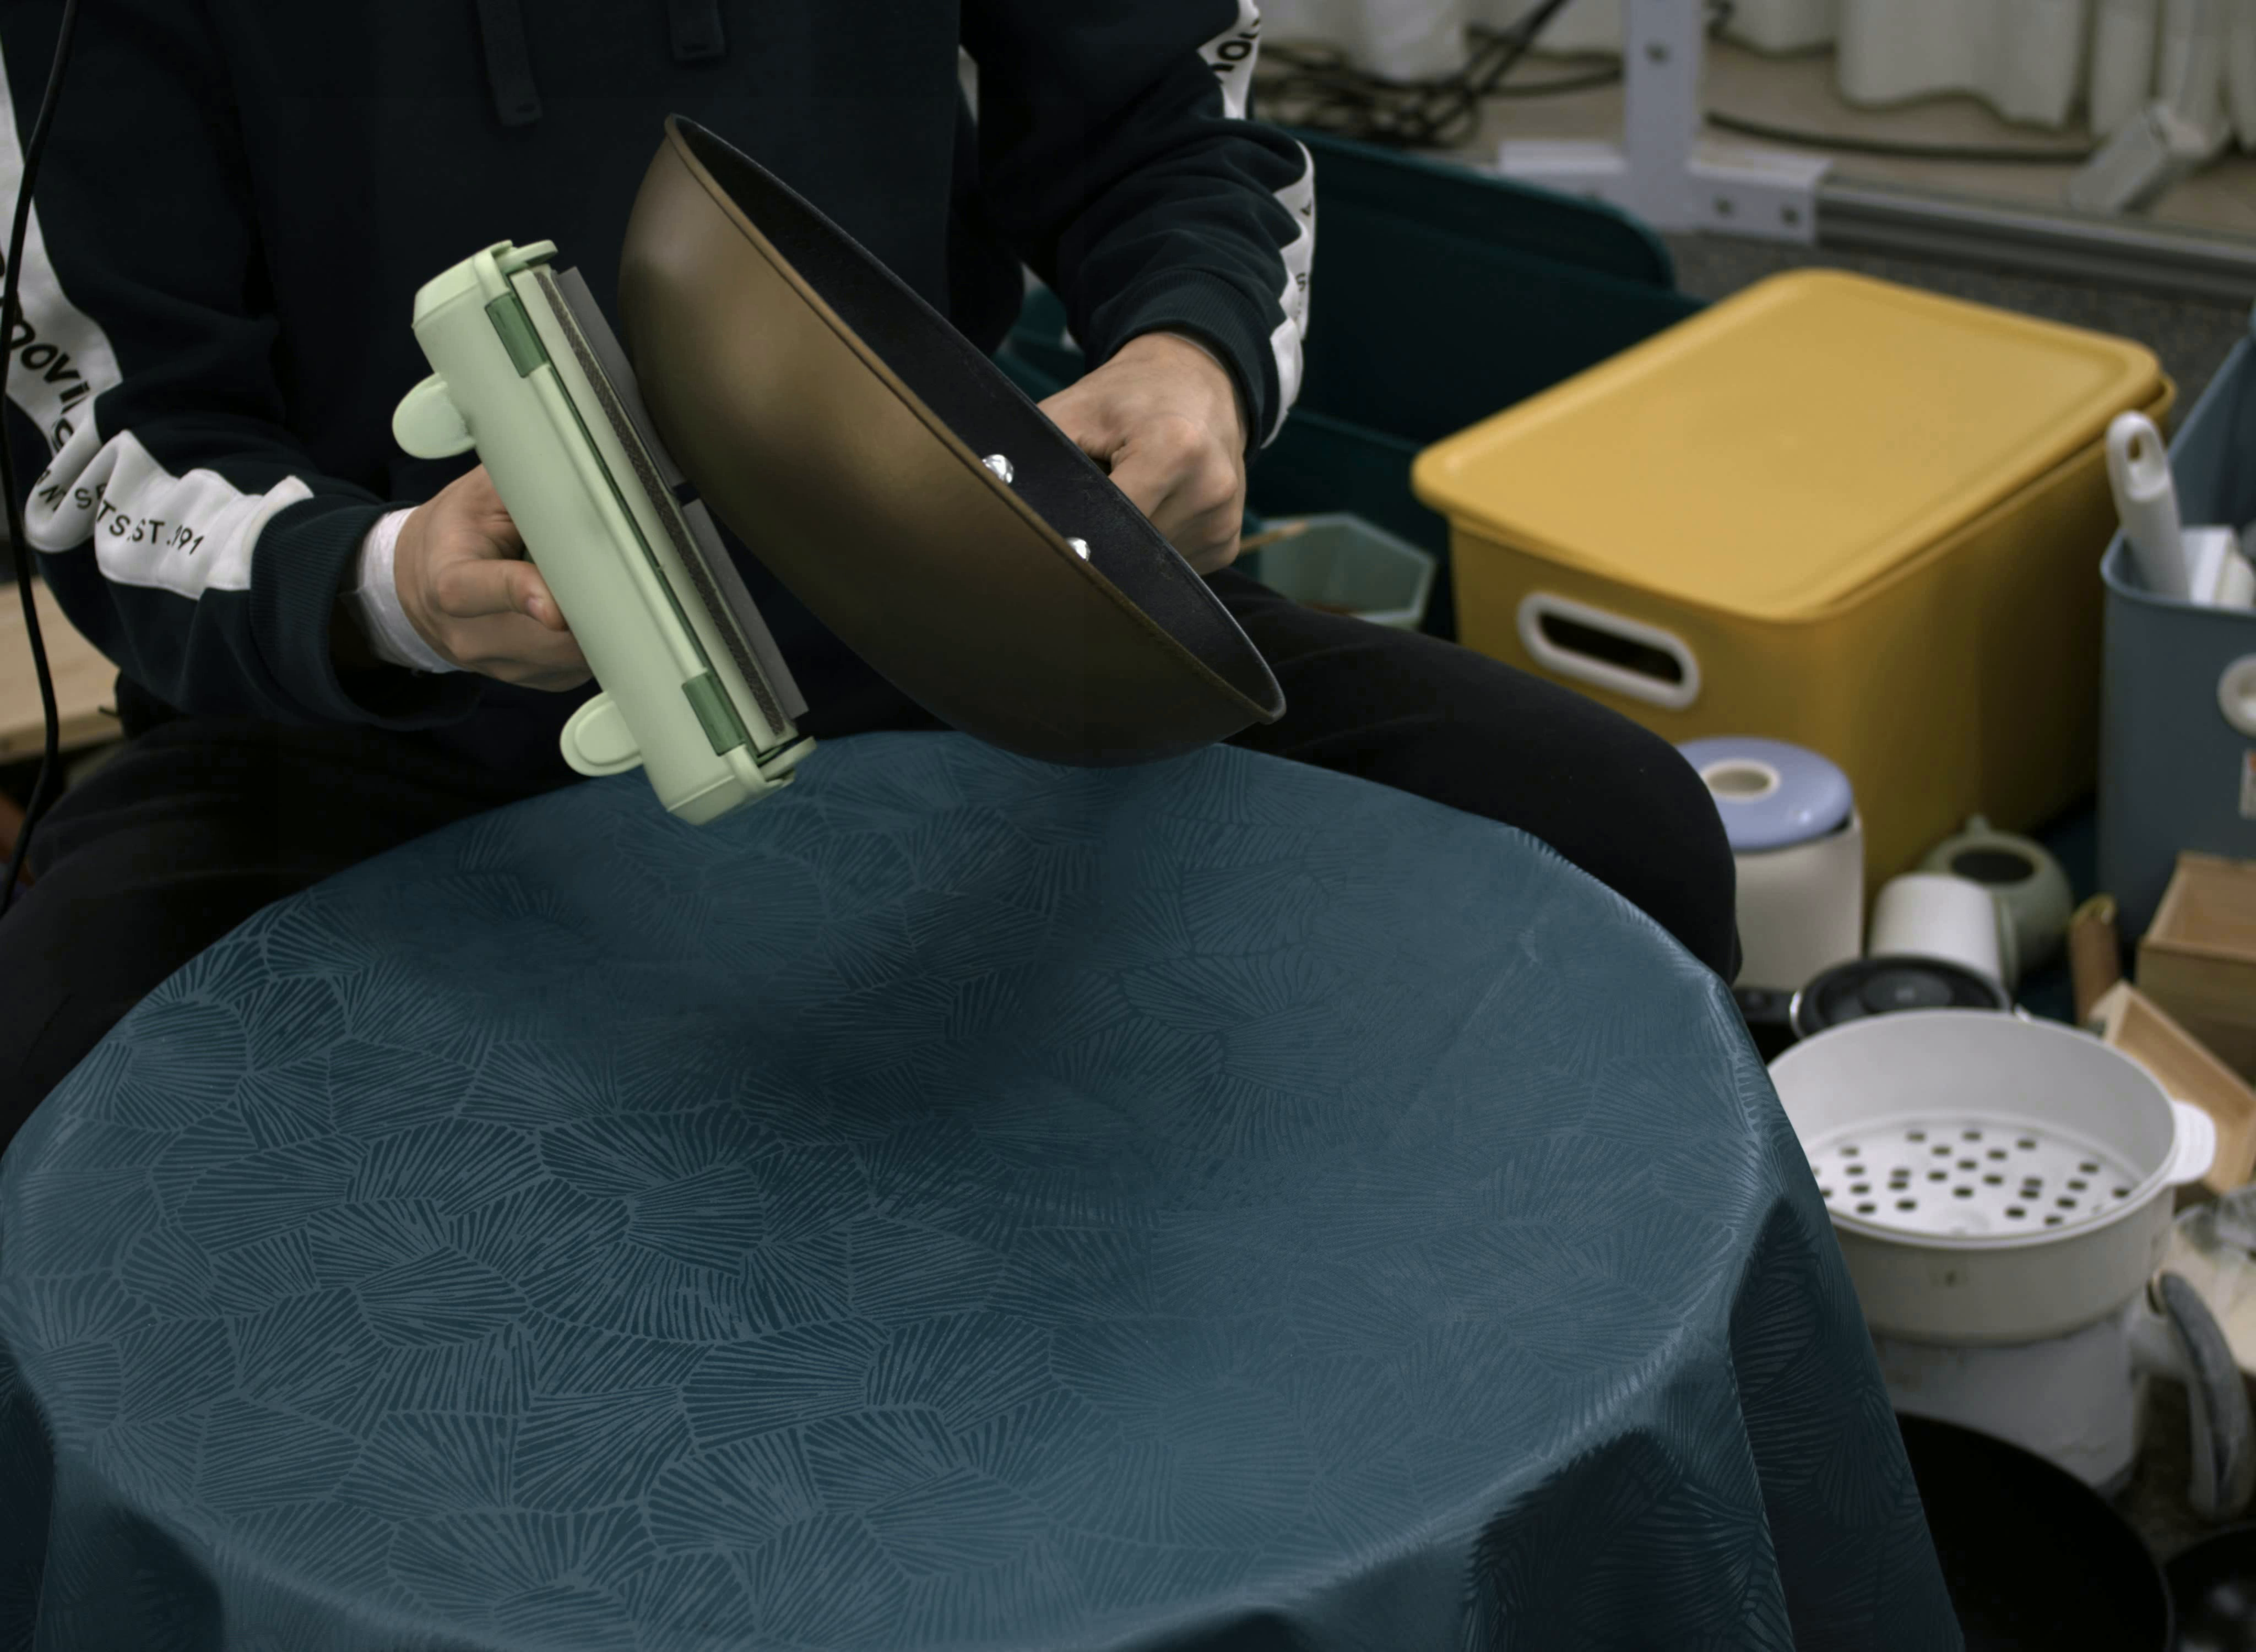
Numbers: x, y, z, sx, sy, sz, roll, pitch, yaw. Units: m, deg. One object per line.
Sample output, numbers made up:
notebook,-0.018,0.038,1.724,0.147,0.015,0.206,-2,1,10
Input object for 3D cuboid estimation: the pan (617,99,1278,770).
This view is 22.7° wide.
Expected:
pan,-0.053,-0.105,1.951,0.289,0.086,0.463,47,7,13

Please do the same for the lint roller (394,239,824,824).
lint roller,-0.191,-0.083,1.868,0.083,0.199,0.181,-29,1,-25
